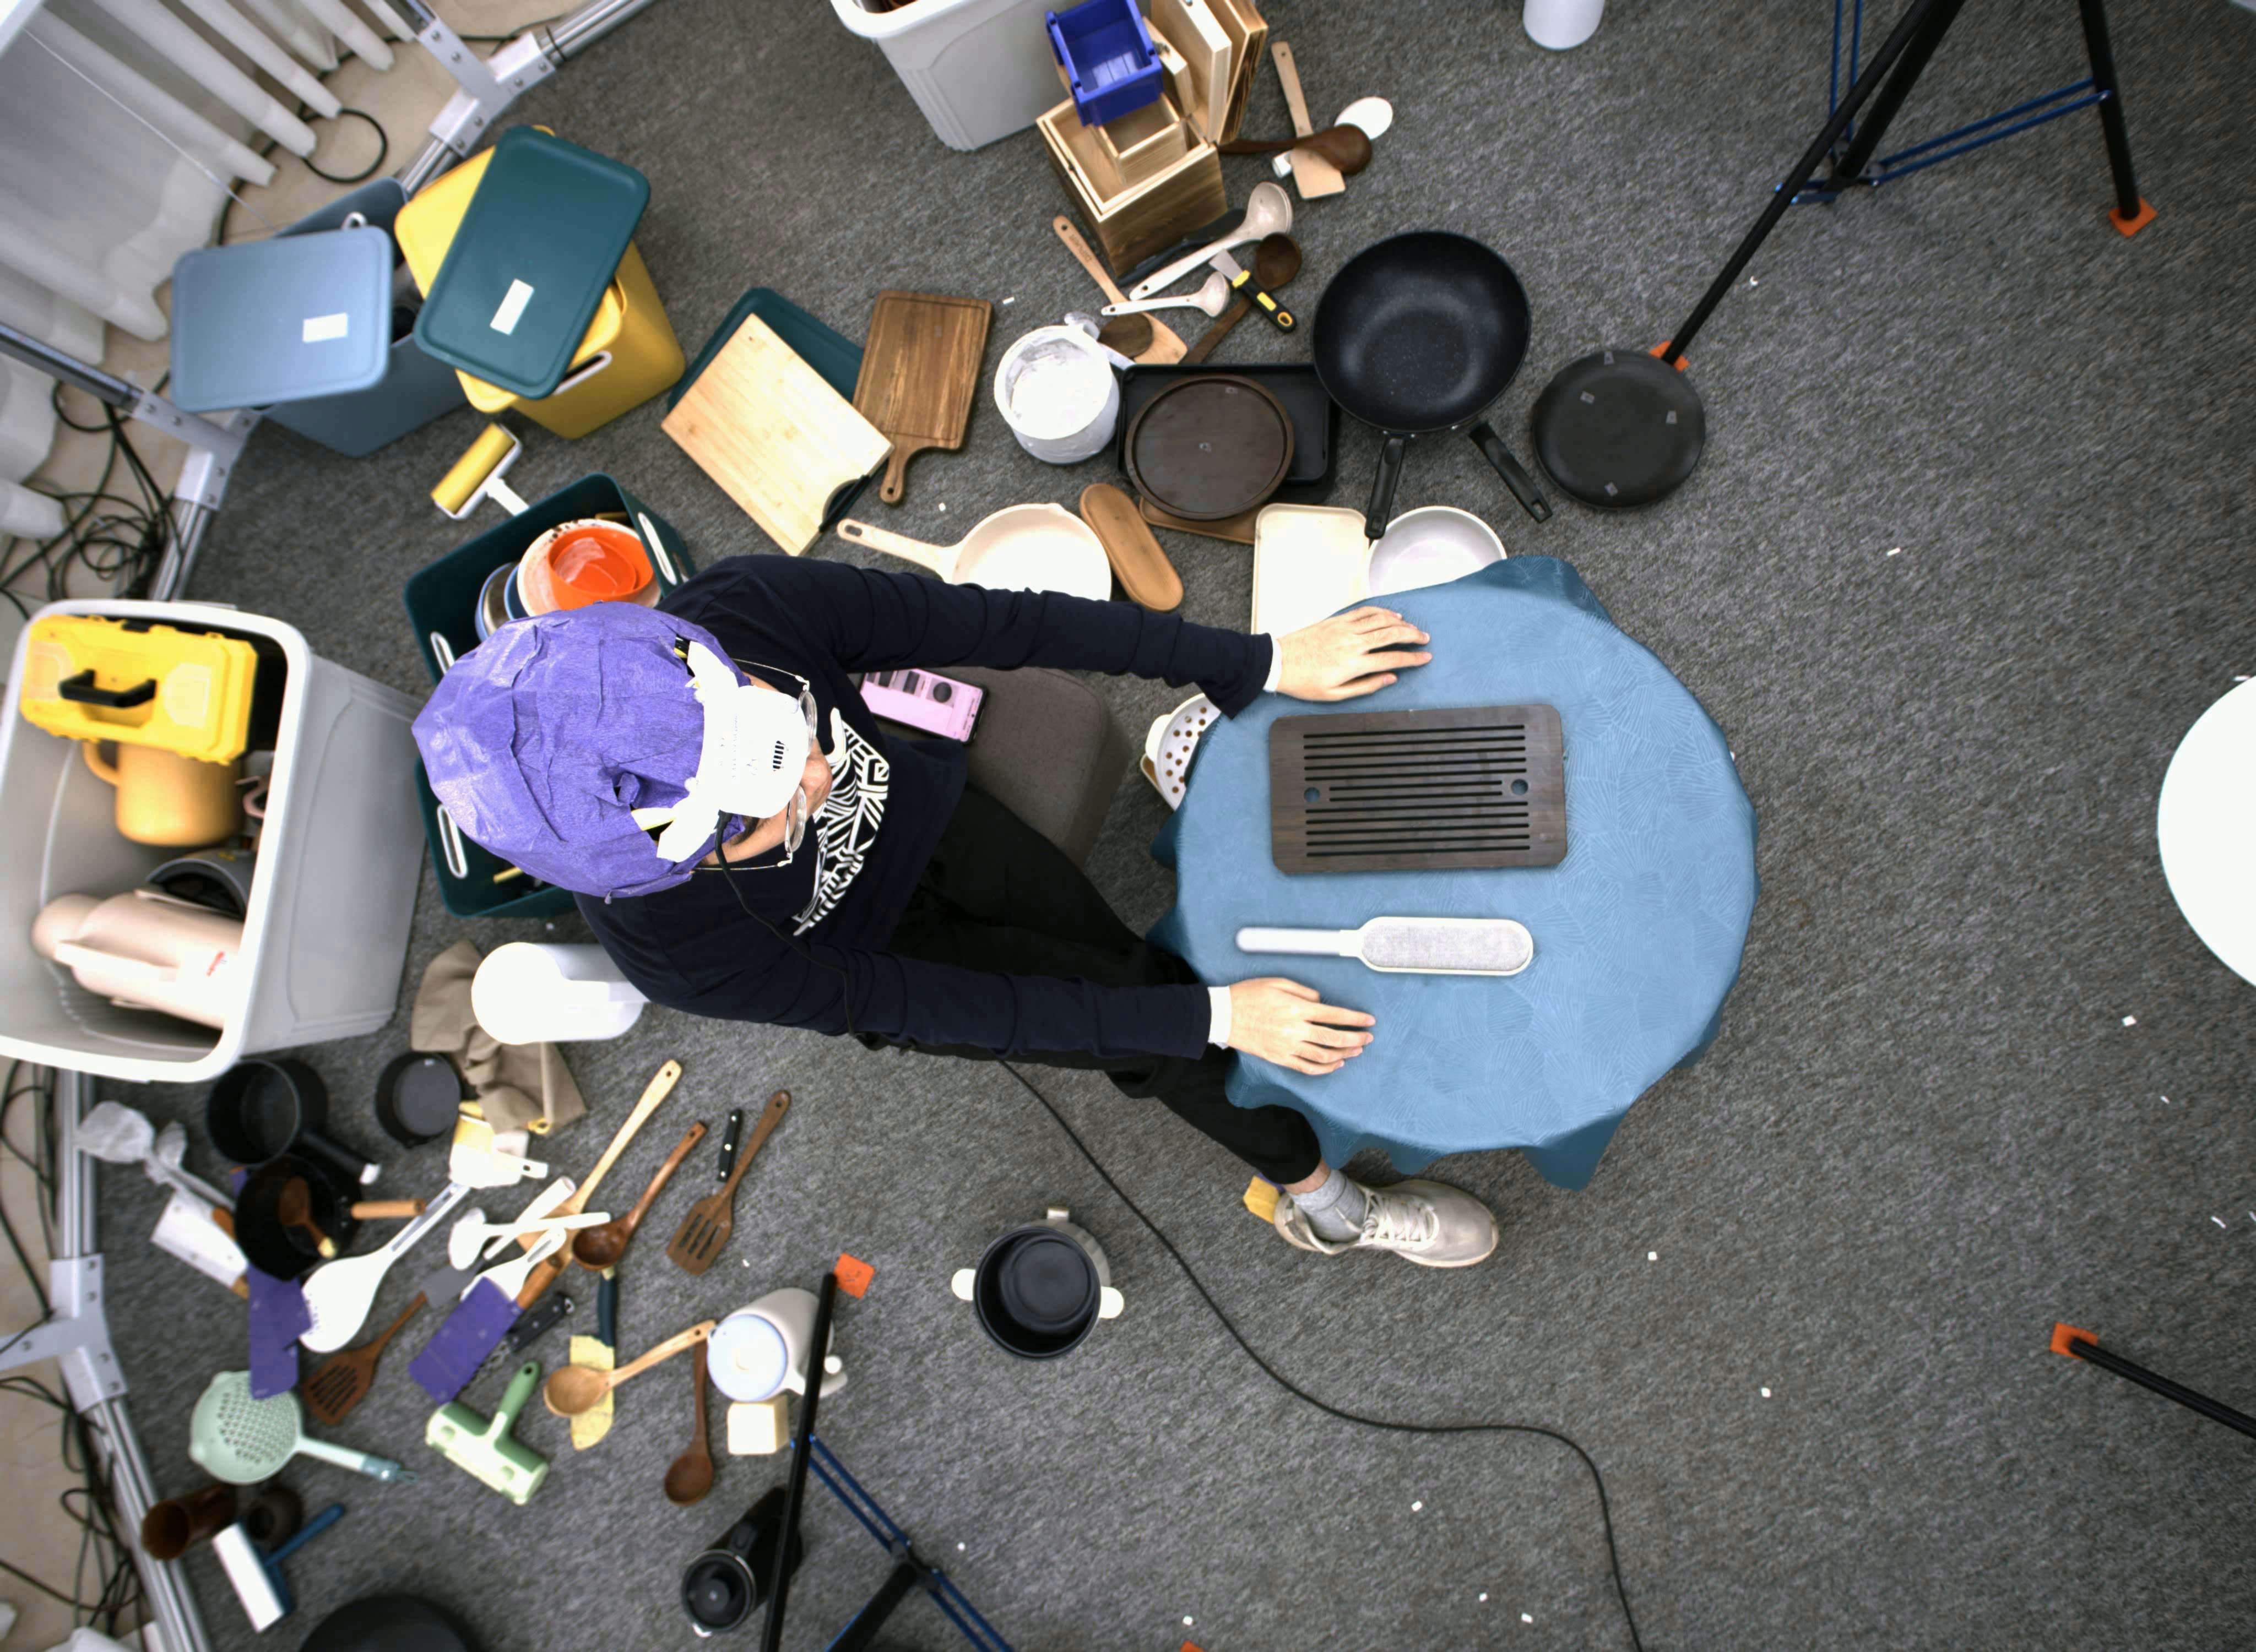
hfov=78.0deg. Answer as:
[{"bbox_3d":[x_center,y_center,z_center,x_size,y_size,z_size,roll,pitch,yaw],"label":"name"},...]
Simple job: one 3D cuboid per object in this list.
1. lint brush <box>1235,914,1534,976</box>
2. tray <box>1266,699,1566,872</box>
[{"bbox_3d":[0.266,0.121,1.444,0.310,0.021,0.060,1,92,11],"label":"lint brush"},{"bbox_3d":[0.301,-0.043,1.452,0.307,0.018,0.169,-3,86,11],"label":"tray"}]
